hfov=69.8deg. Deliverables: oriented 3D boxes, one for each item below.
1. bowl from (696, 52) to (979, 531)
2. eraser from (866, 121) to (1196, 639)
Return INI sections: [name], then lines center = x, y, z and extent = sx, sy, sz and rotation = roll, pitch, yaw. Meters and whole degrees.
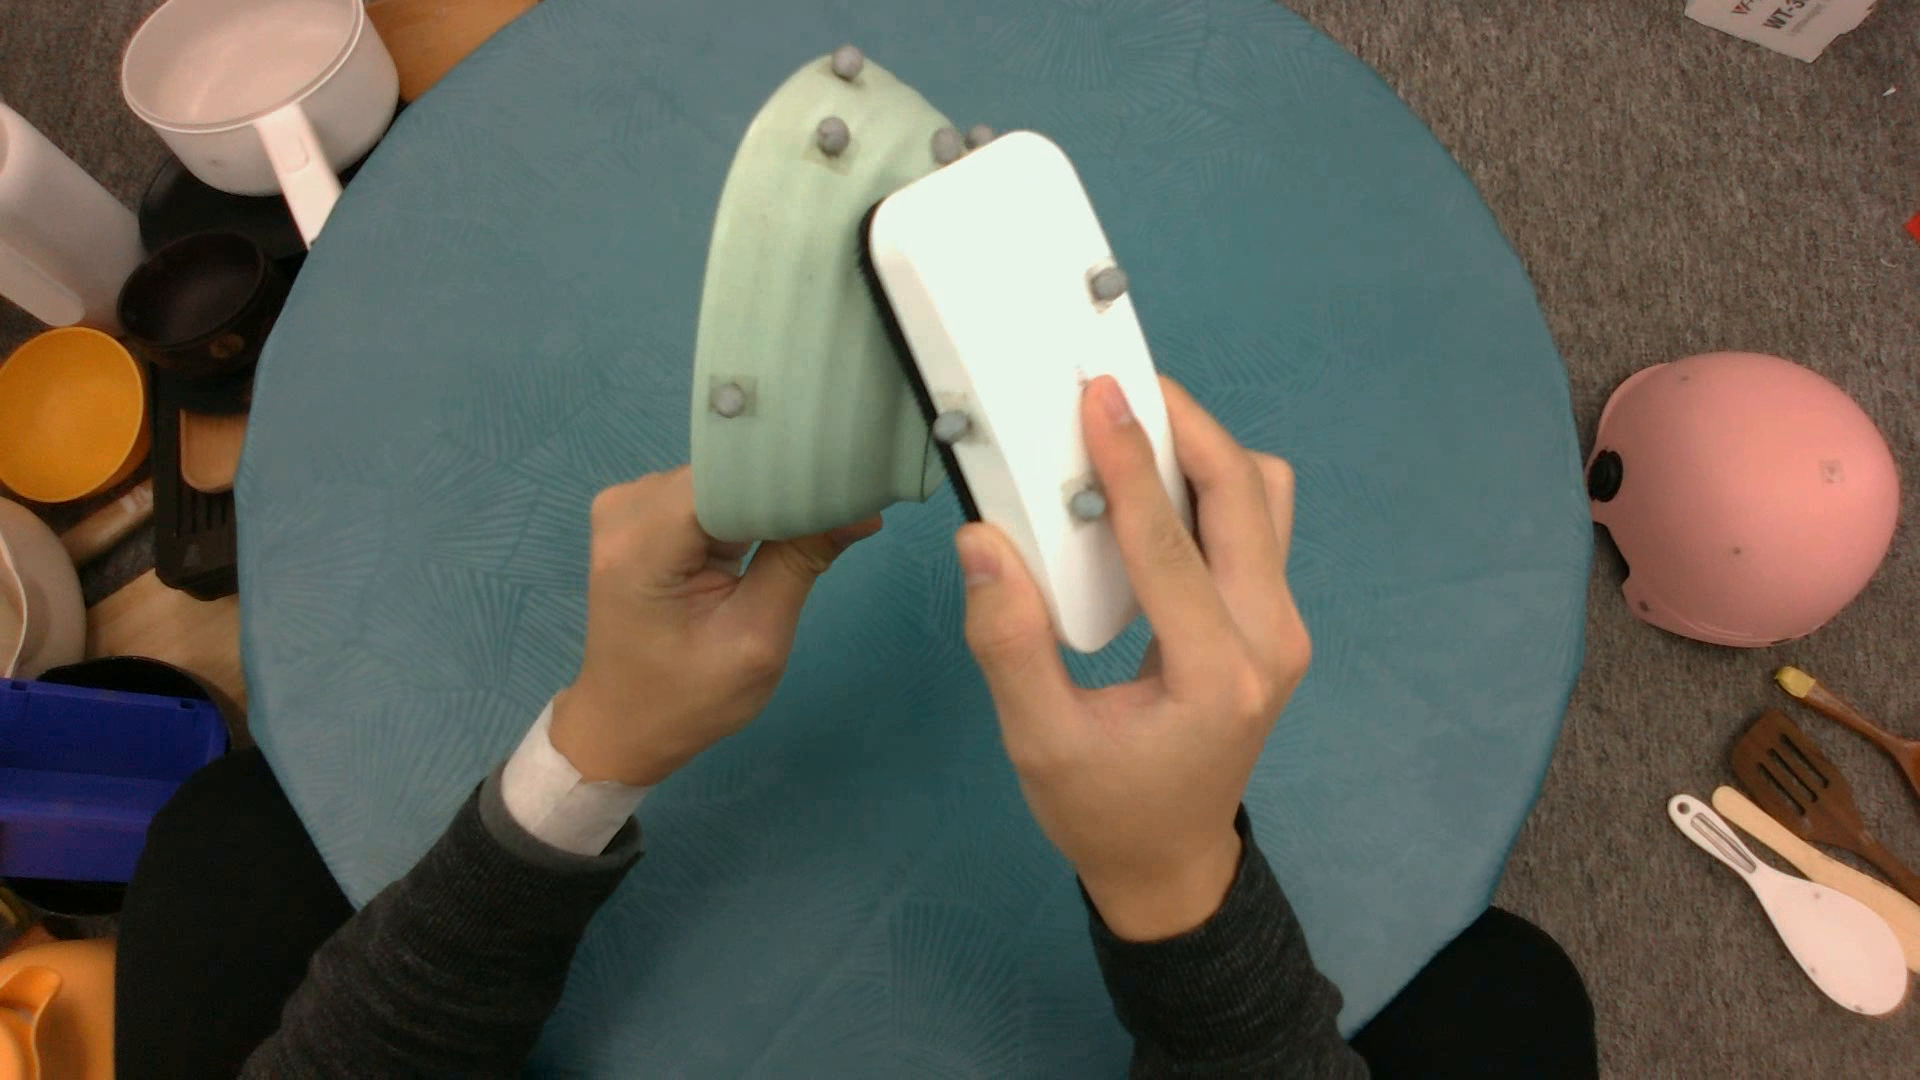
[bowl]
center = -0.023, -0.066, 0.409
extent = 0.058, 0.151, 0.152
rotation = 18, 75, 6
[eraser]
center = 0.022, -0.039, 0.361
extent = 0.064, 0.034, 0.131
rotation = -37, 115, -35
